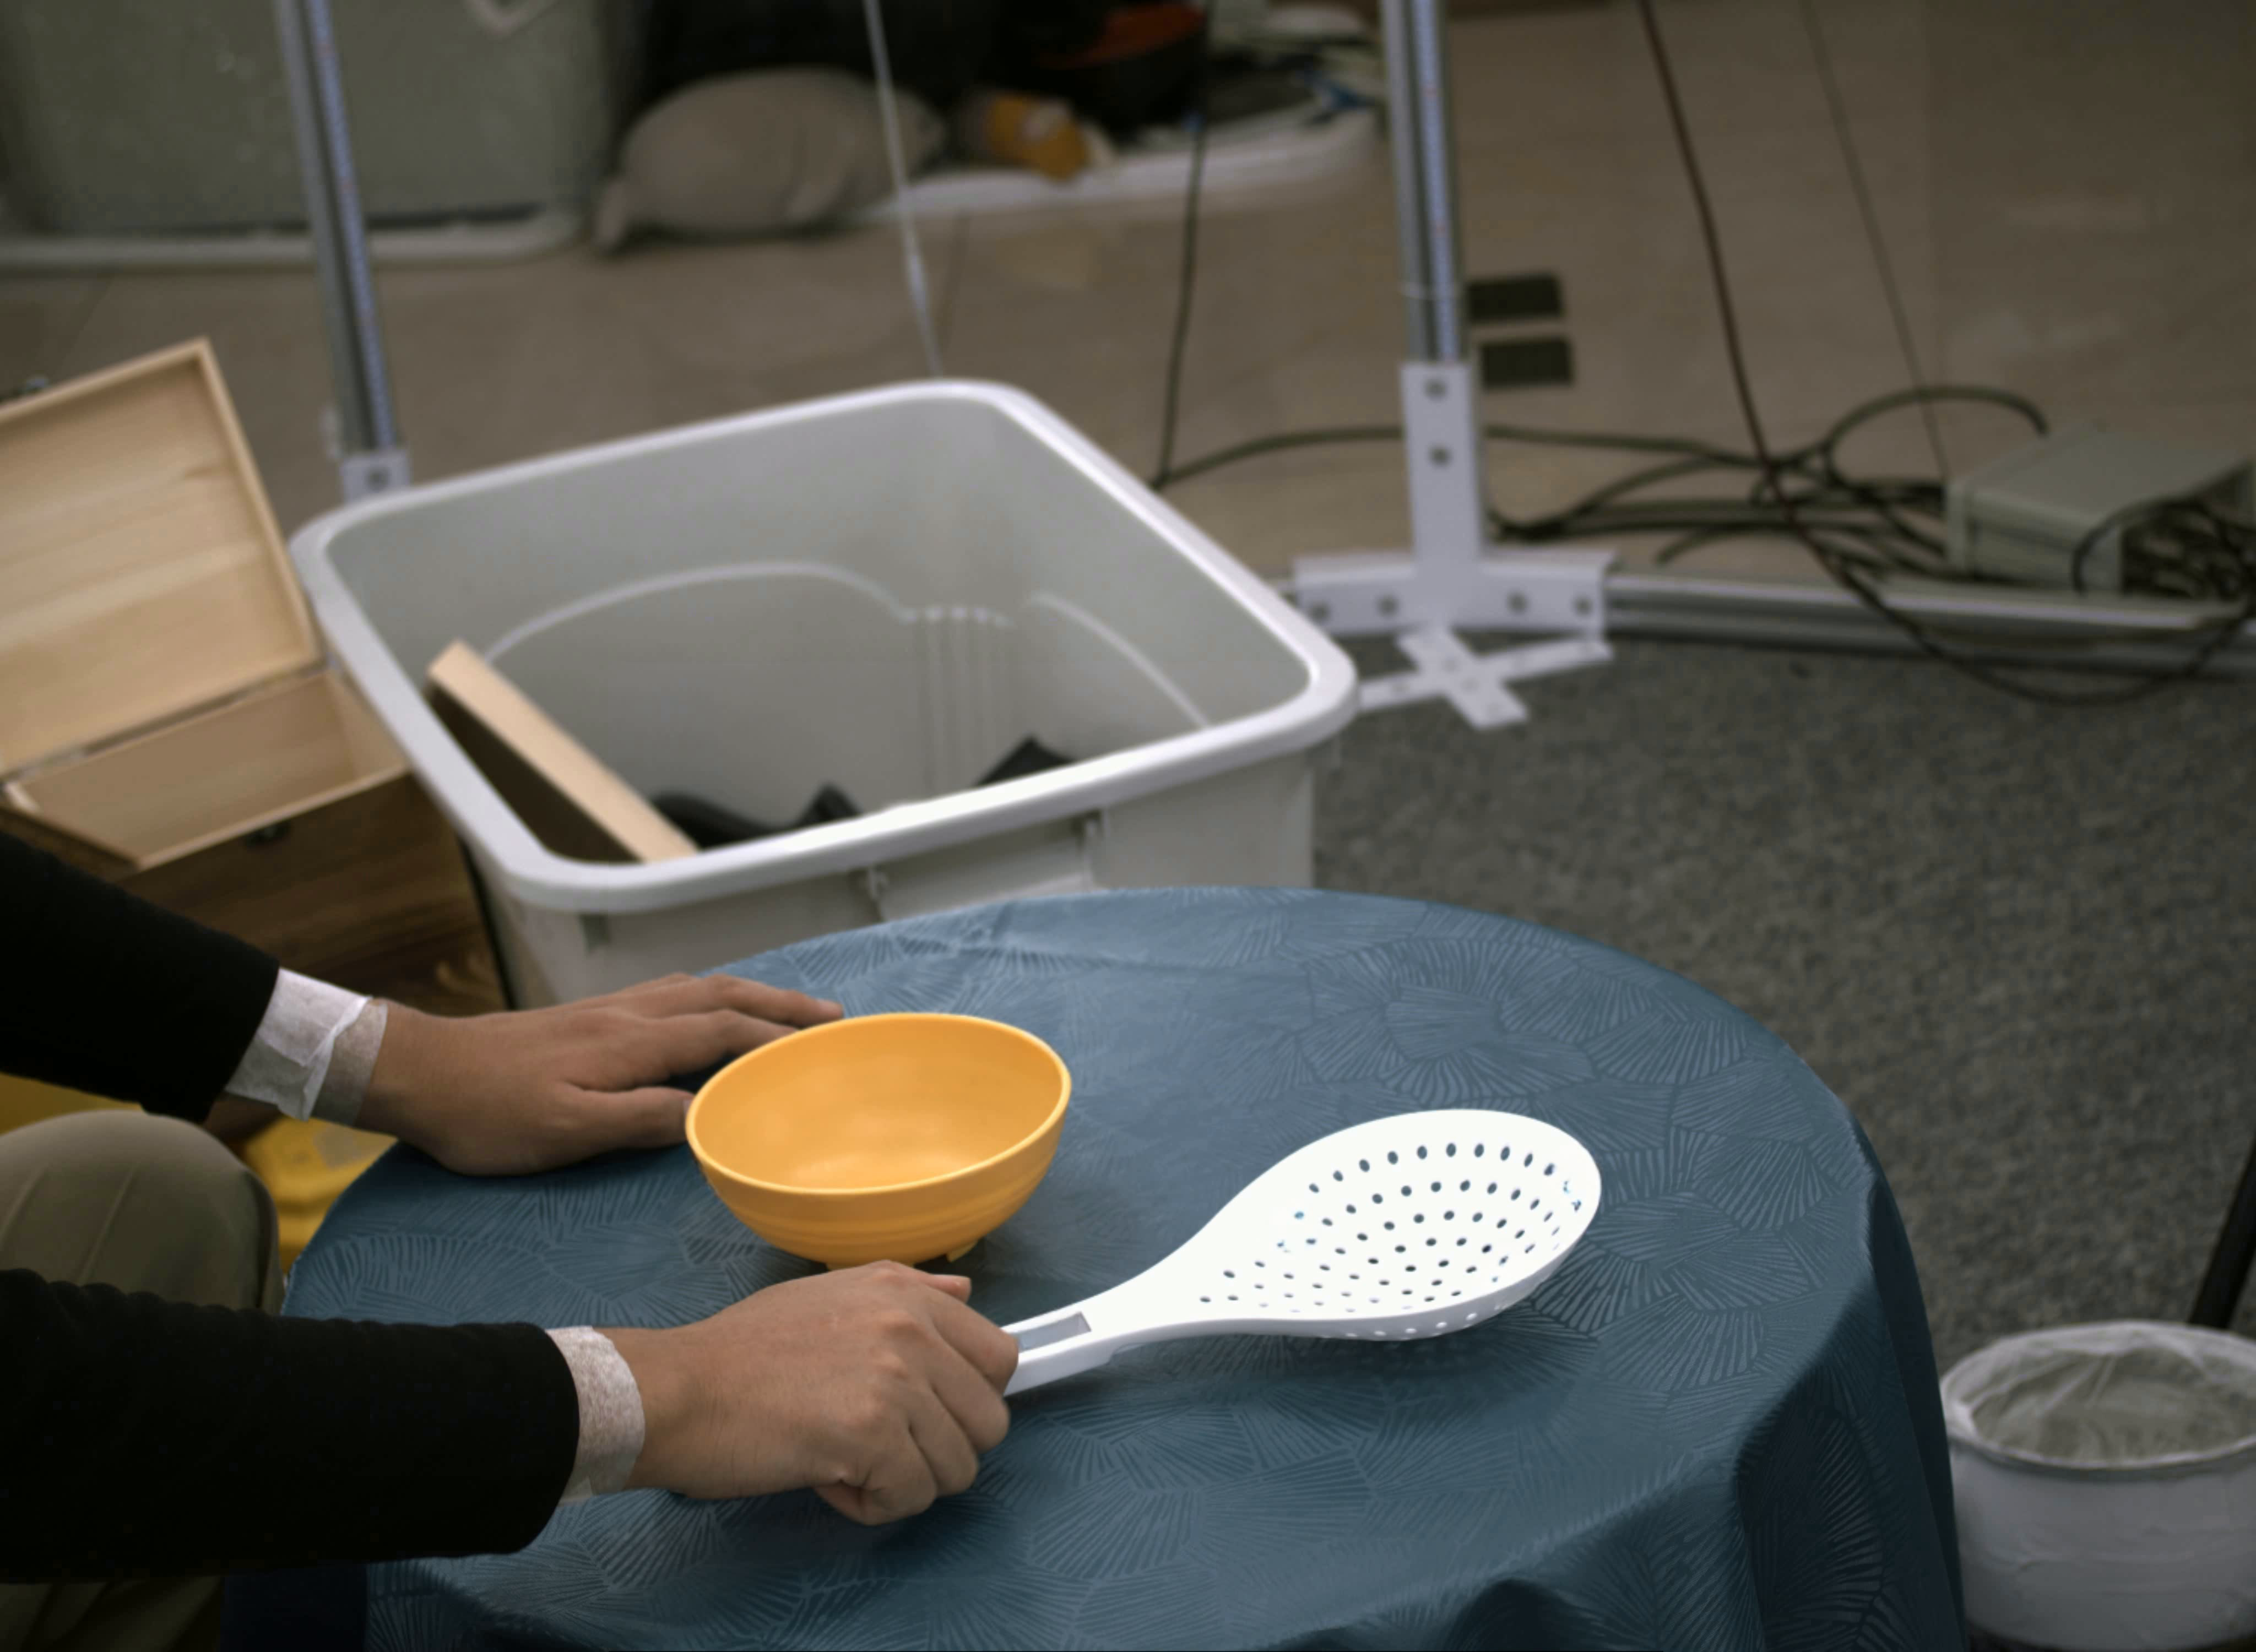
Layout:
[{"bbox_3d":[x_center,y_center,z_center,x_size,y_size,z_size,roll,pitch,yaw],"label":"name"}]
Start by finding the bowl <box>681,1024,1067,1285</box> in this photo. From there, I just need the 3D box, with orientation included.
[{"bbox_3d":[-0.093,0.130,2.123,0.145,0.061,0.143,-4,24,2],"label":"bowl"}]

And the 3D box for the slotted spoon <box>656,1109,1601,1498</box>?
[{"bbox_3d":[0.002,0.175,2.015,0.349,0.046,0.134,-13,27,-11],"label":"slotted spoon"}]
